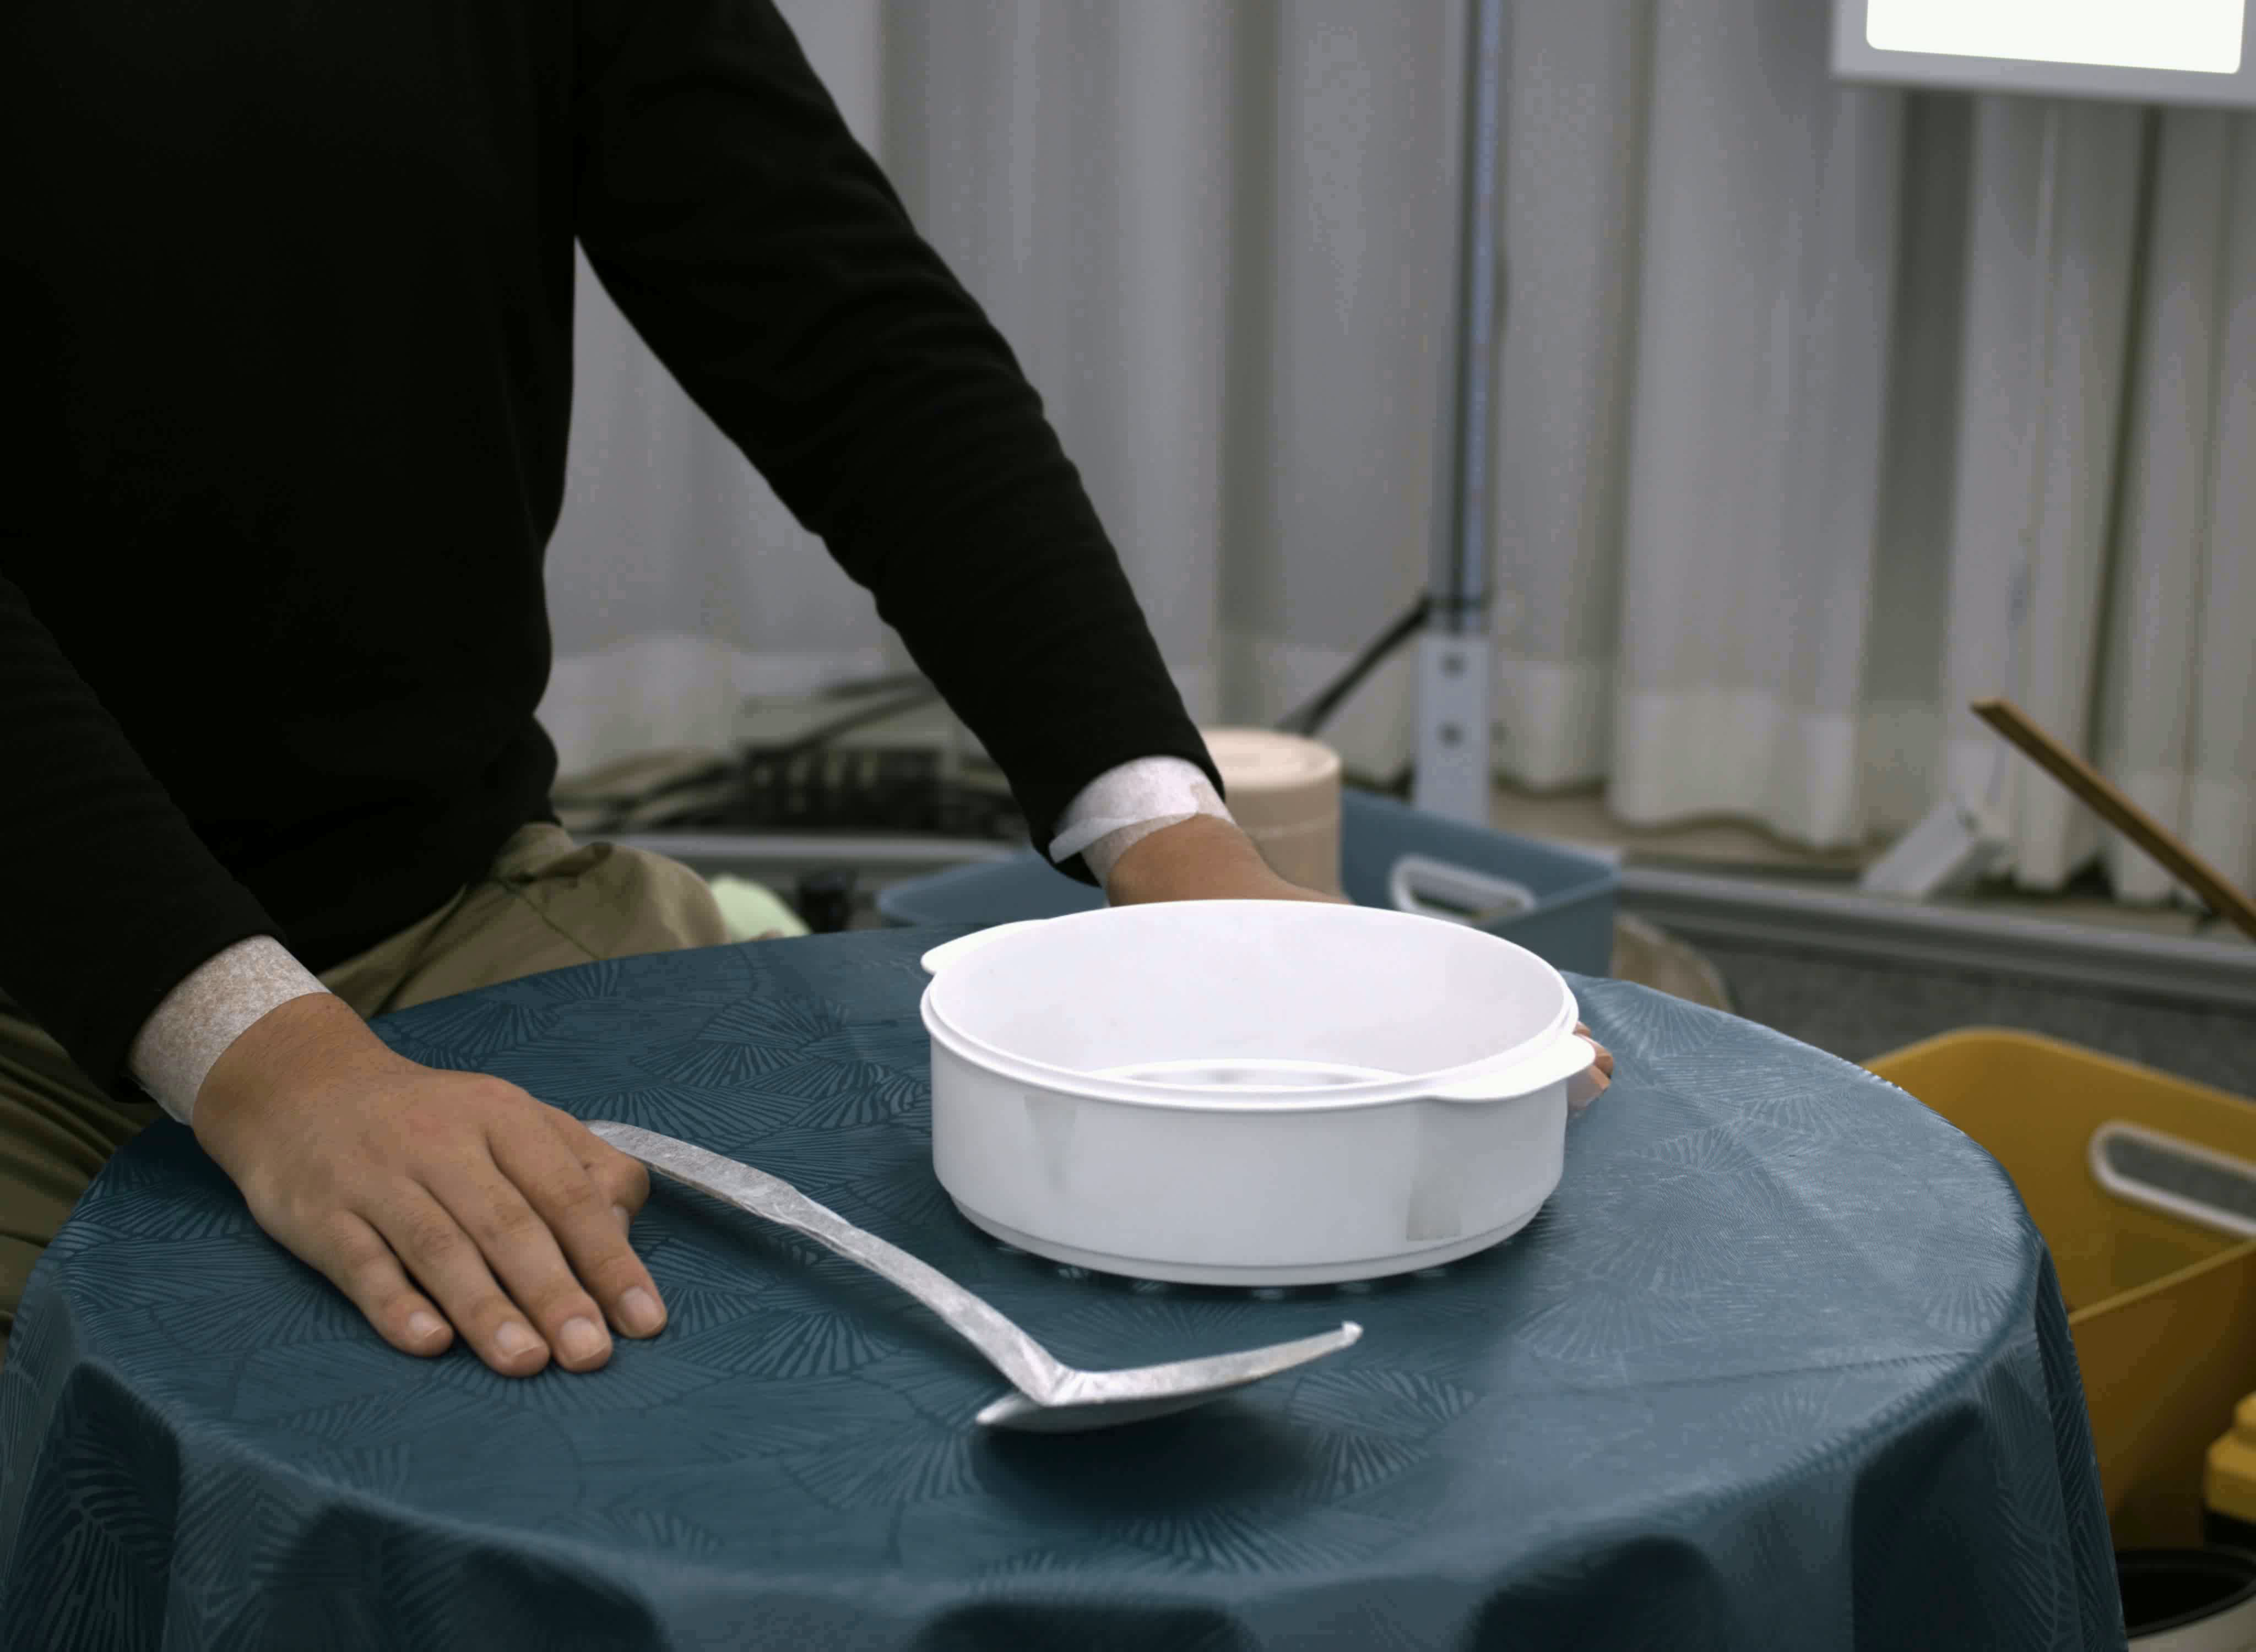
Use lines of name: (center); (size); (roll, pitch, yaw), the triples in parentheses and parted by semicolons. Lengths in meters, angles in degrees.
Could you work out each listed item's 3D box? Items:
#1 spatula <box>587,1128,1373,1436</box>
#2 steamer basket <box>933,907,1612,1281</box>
spatula: (-0.068, 0.121, 1.516); (0.099, 0.045, 0.360); (-13, 20, -34)
steamer basket: (0.041, 0.081, 1.604); (0.227, 0.070, 0.203); (12, 18, 37)
